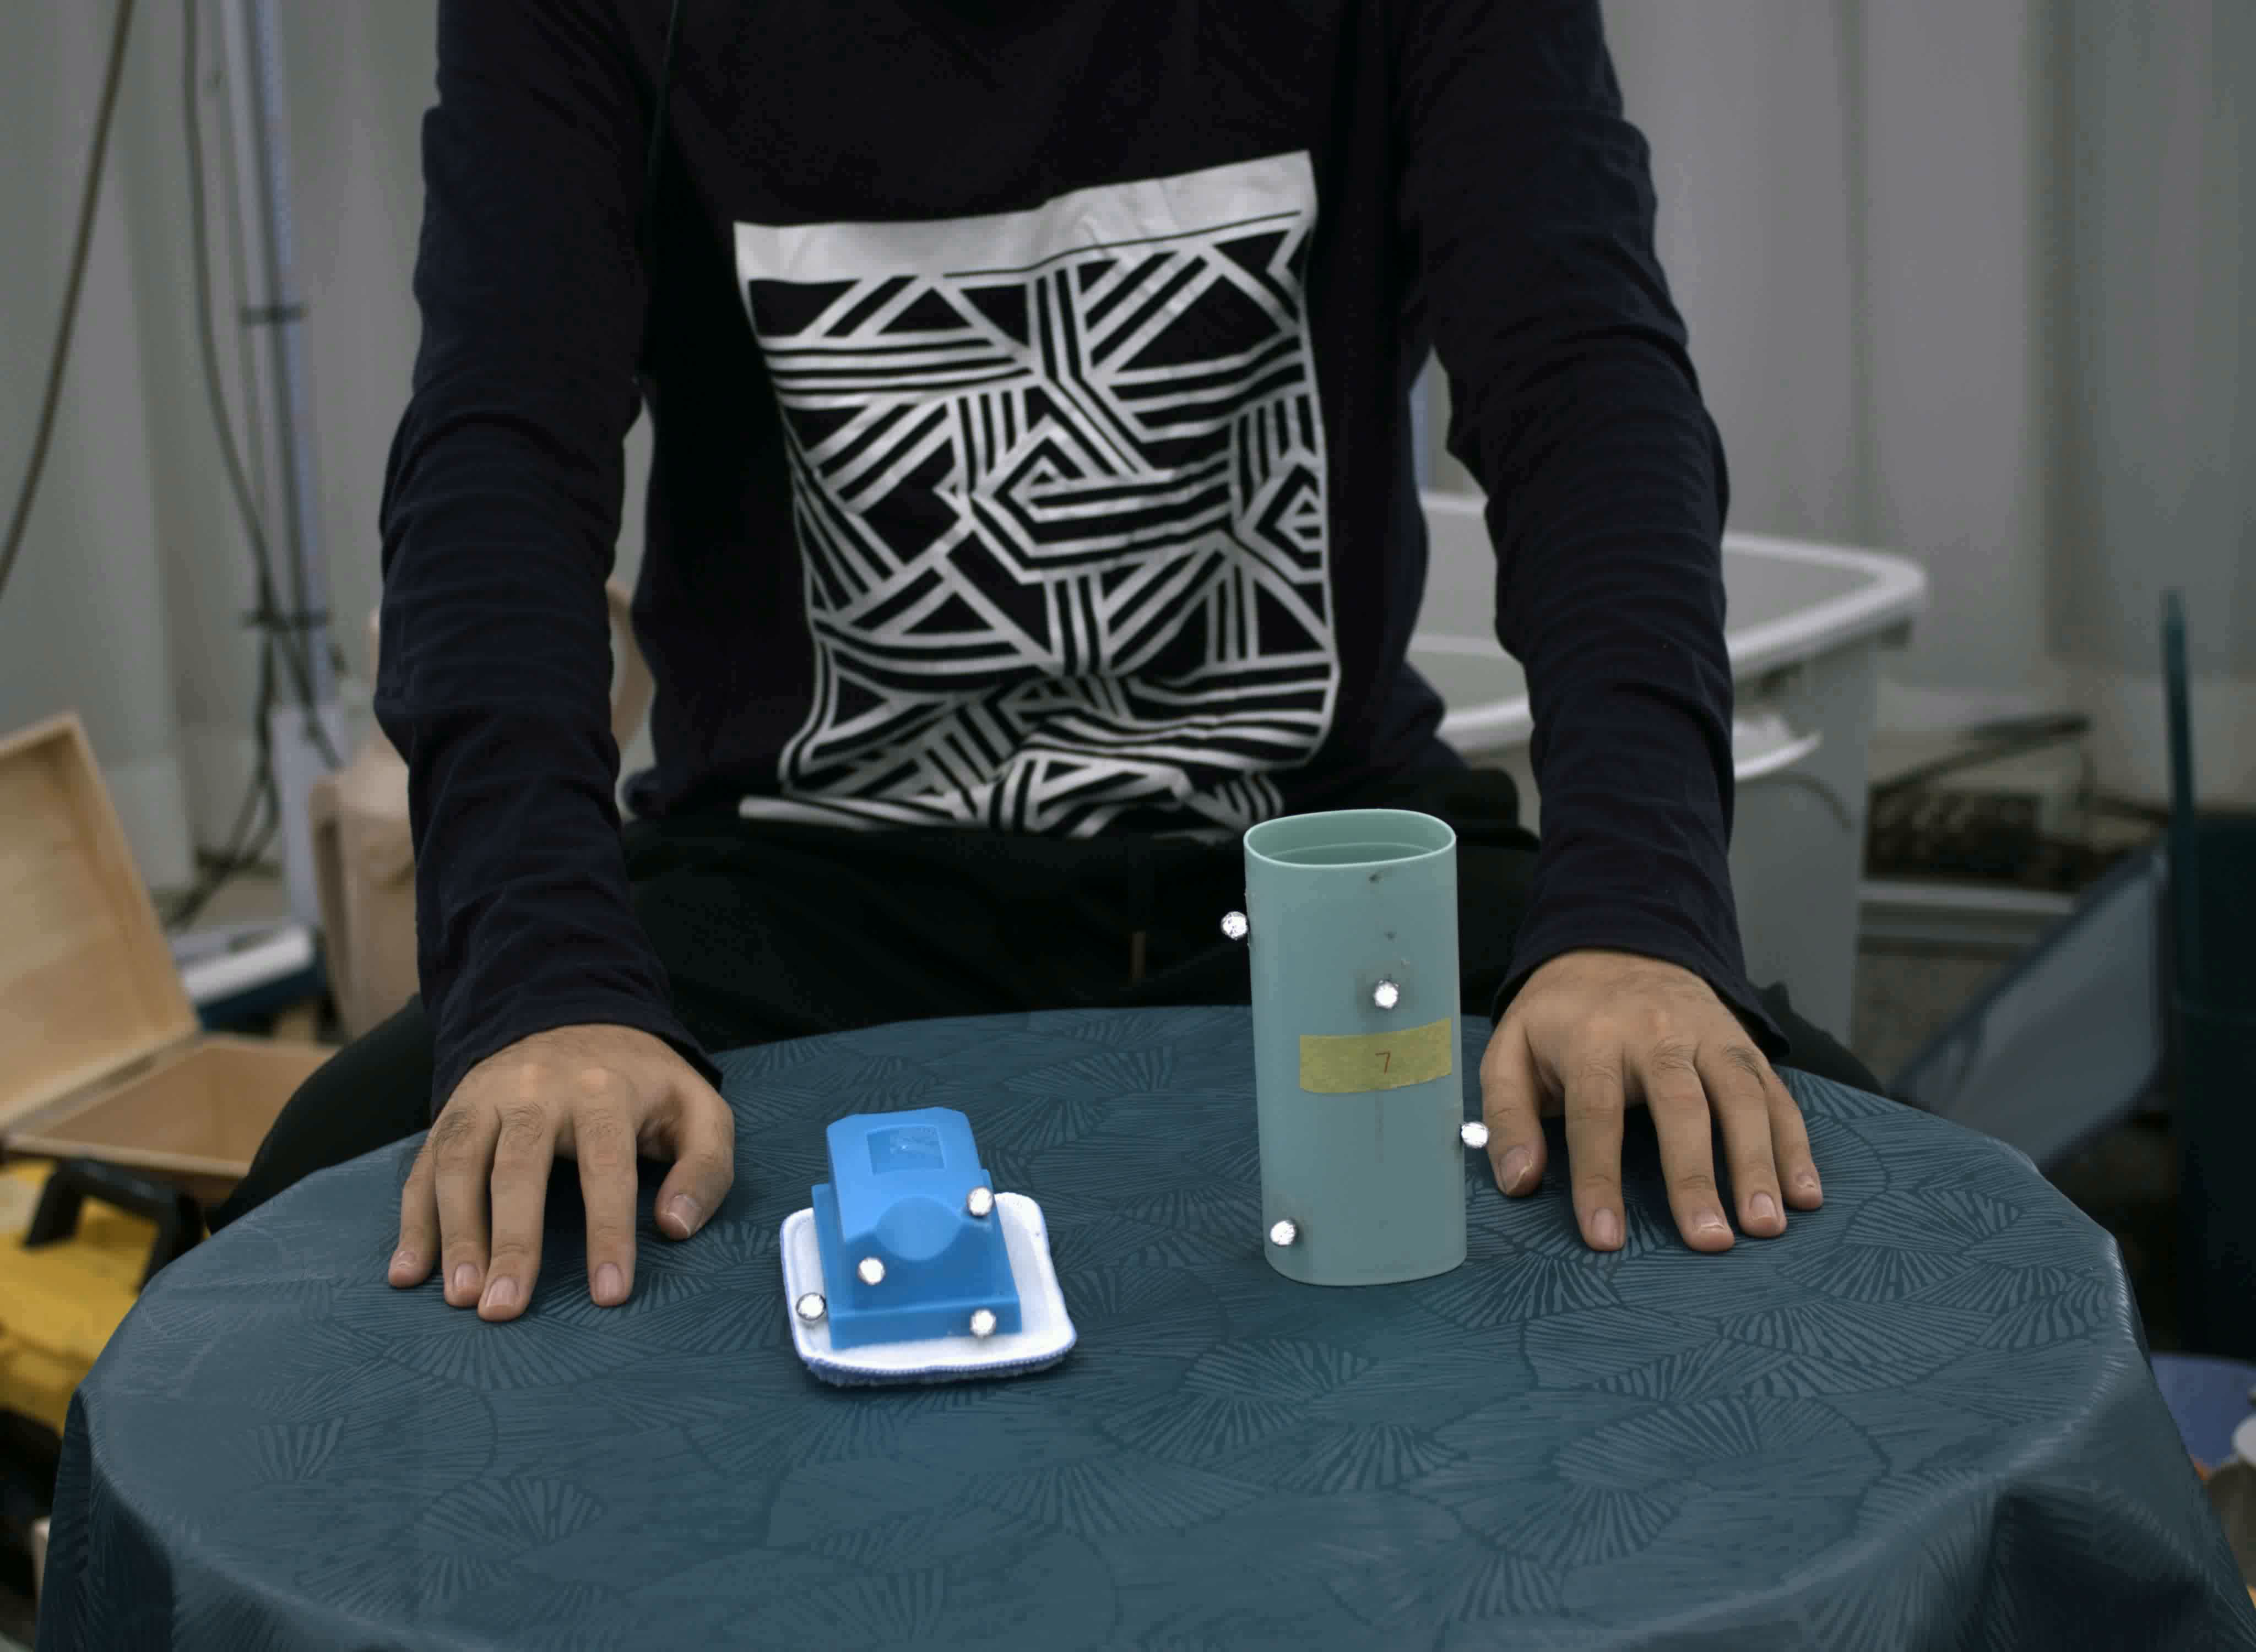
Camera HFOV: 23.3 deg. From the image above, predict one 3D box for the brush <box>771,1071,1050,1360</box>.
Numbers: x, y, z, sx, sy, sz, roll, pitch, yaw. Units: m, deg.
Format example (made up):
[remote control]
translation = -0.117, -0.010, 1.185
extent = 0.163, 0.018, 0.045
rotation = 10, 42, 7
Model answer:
[brush]
translation = -0.064, 0.112, 1.620
extent = 0.083, 0.055, 0.145
rotation = -1, 17, -3

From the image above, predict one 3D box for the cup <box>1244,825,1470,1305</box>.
[cup]
translation = 0.069, 0.070, 1.636
extent = 0.066, 0.132, 0.067
rotation = -3, 13, 1
